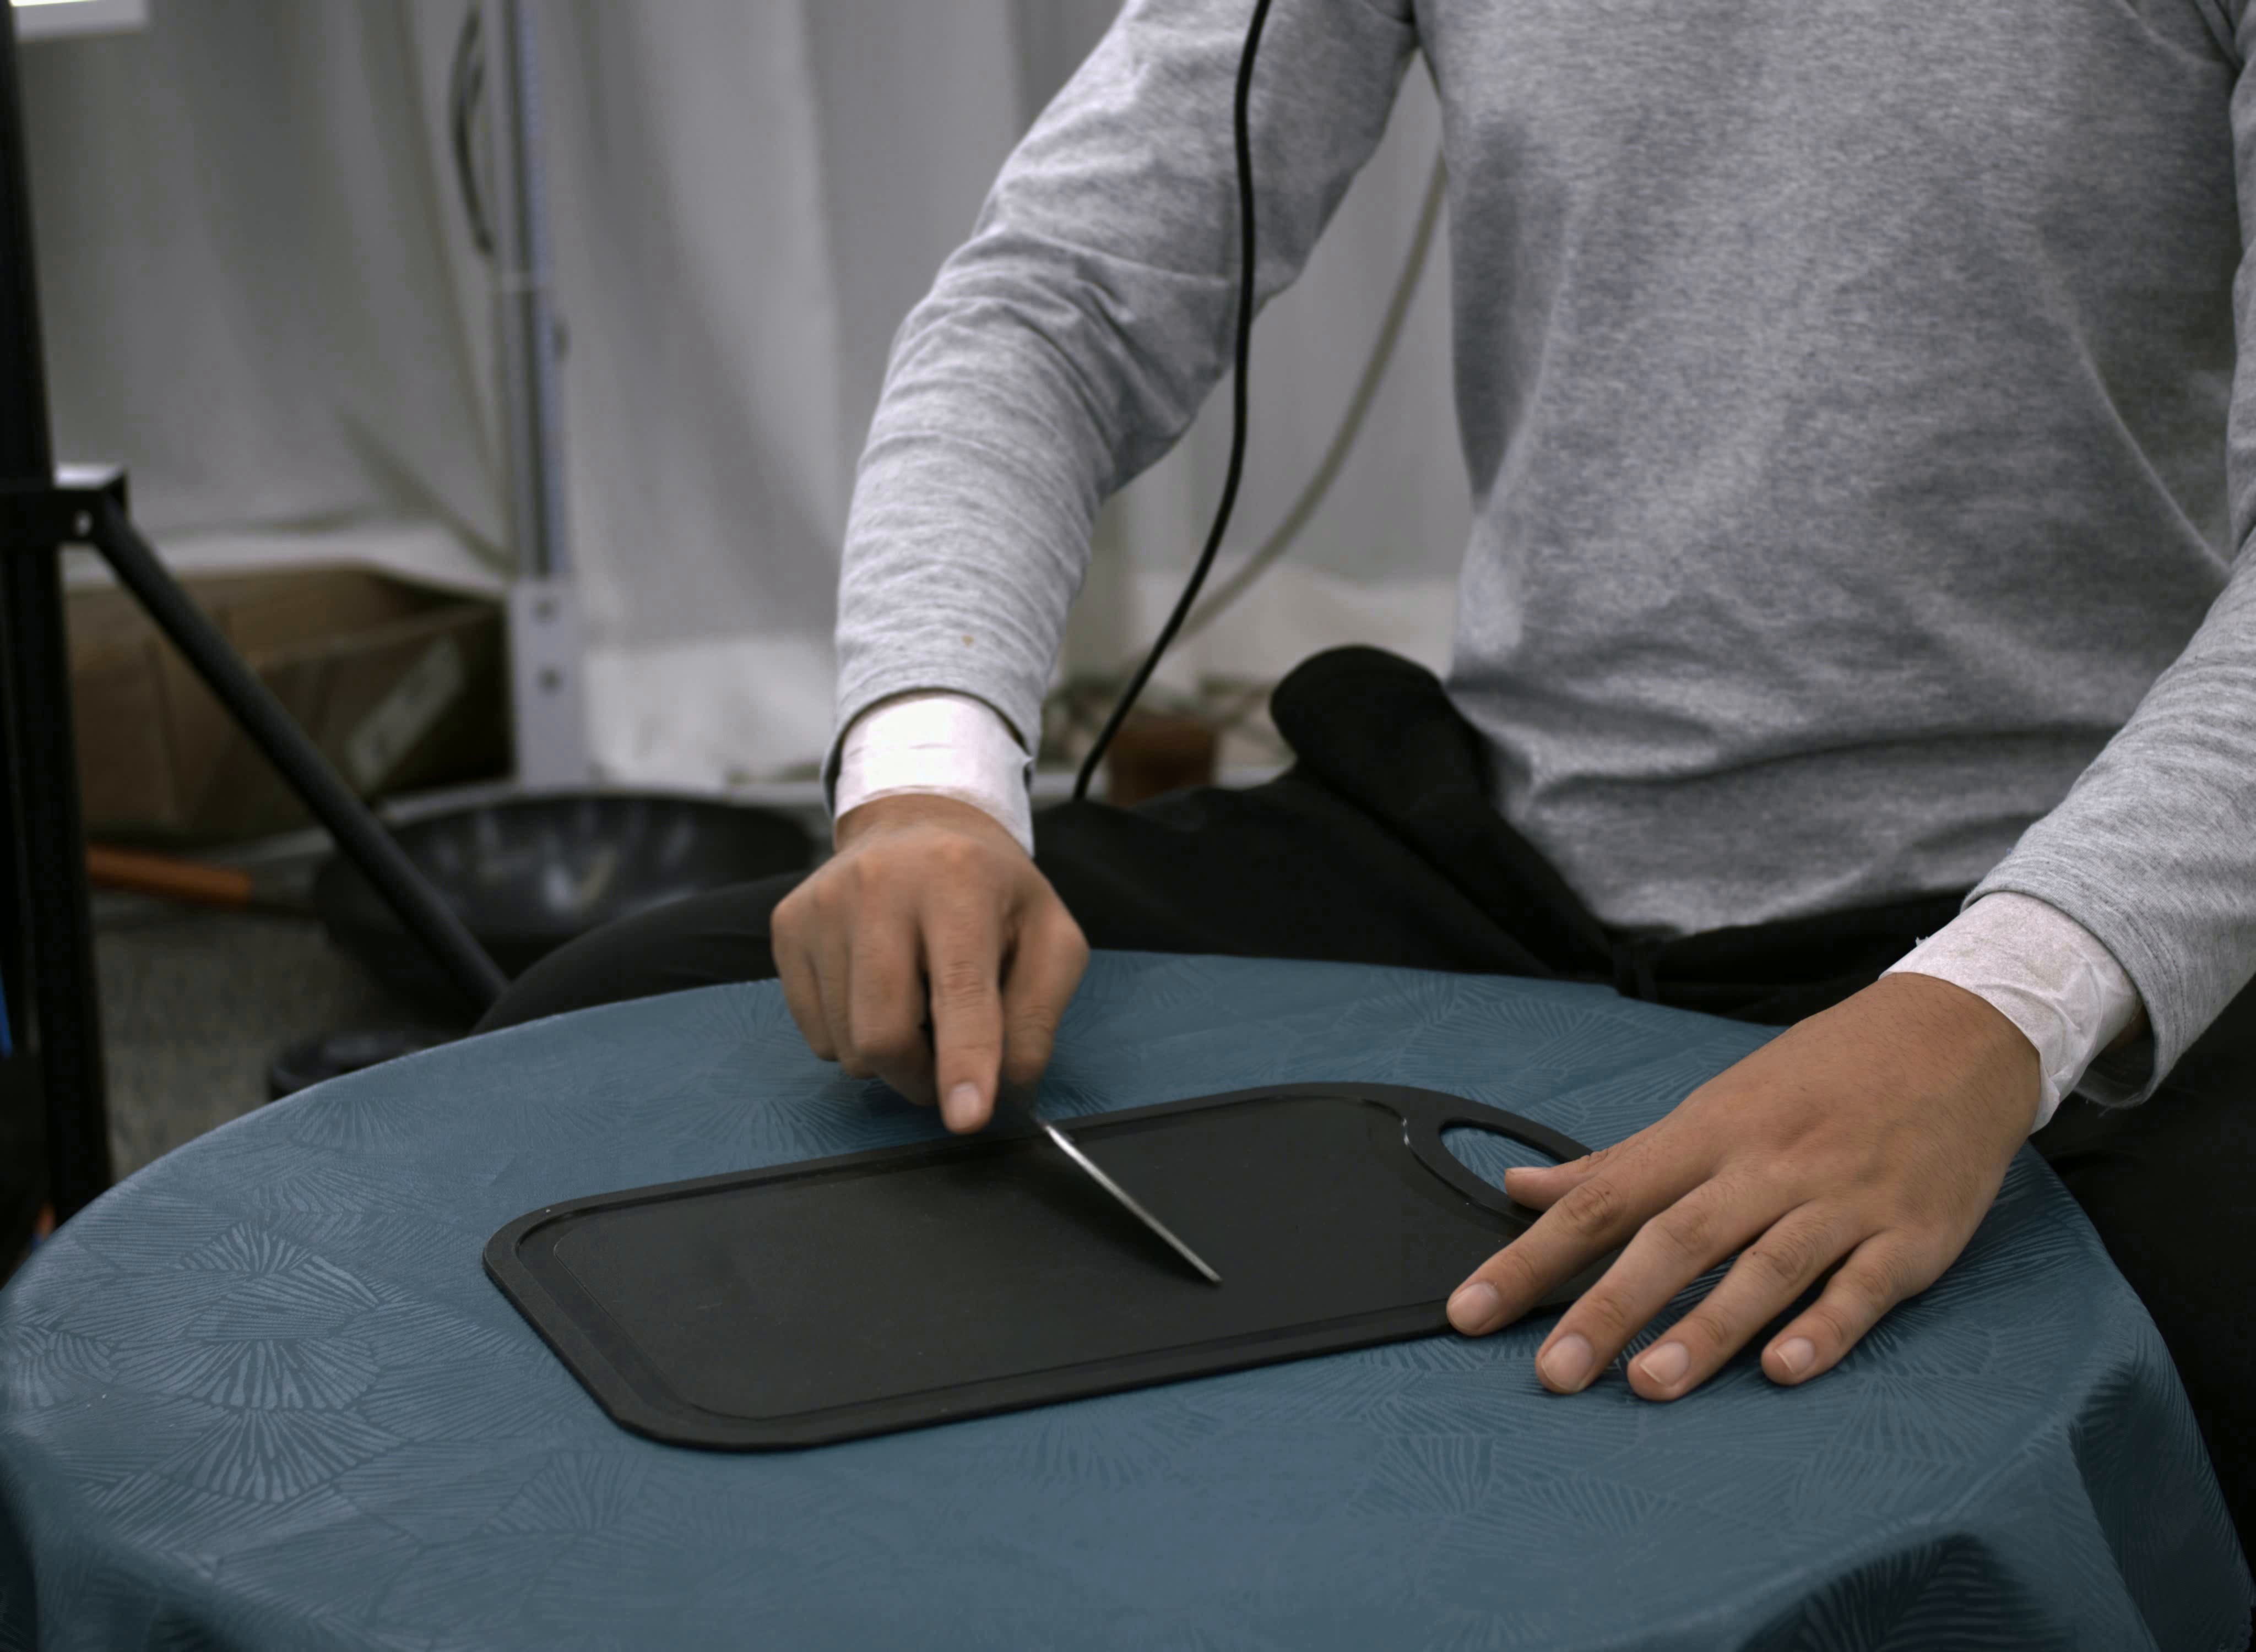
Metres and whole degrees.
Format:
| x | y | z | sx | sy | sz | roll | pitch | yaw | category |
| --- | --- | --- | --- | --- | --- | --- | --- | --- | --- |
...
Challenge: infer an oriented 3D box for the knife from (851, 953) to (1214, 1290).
| x | y | z | sx | sy | sz | roll | pitch | yaw | category |
| --- | --- | --- | --- | --- | --- | --- | --- | --- | --- |
| -0.029 | 0.087 | 1.575 | 0.024 | 0.016 | 0.243 | 33 | 3 | -34 | knife |

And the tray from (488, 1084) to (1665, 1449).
| x | y | z | sx | sy | sz | roll | pitch | yaw | category |
| --- | --- | --- | --- | --- | --- | --- | --- | --- | --- |
| -0.010 | 0.119 | 1.515 | 0.319 | 0.010 | 0.215 | -8 | 17 | -19 | tray |
